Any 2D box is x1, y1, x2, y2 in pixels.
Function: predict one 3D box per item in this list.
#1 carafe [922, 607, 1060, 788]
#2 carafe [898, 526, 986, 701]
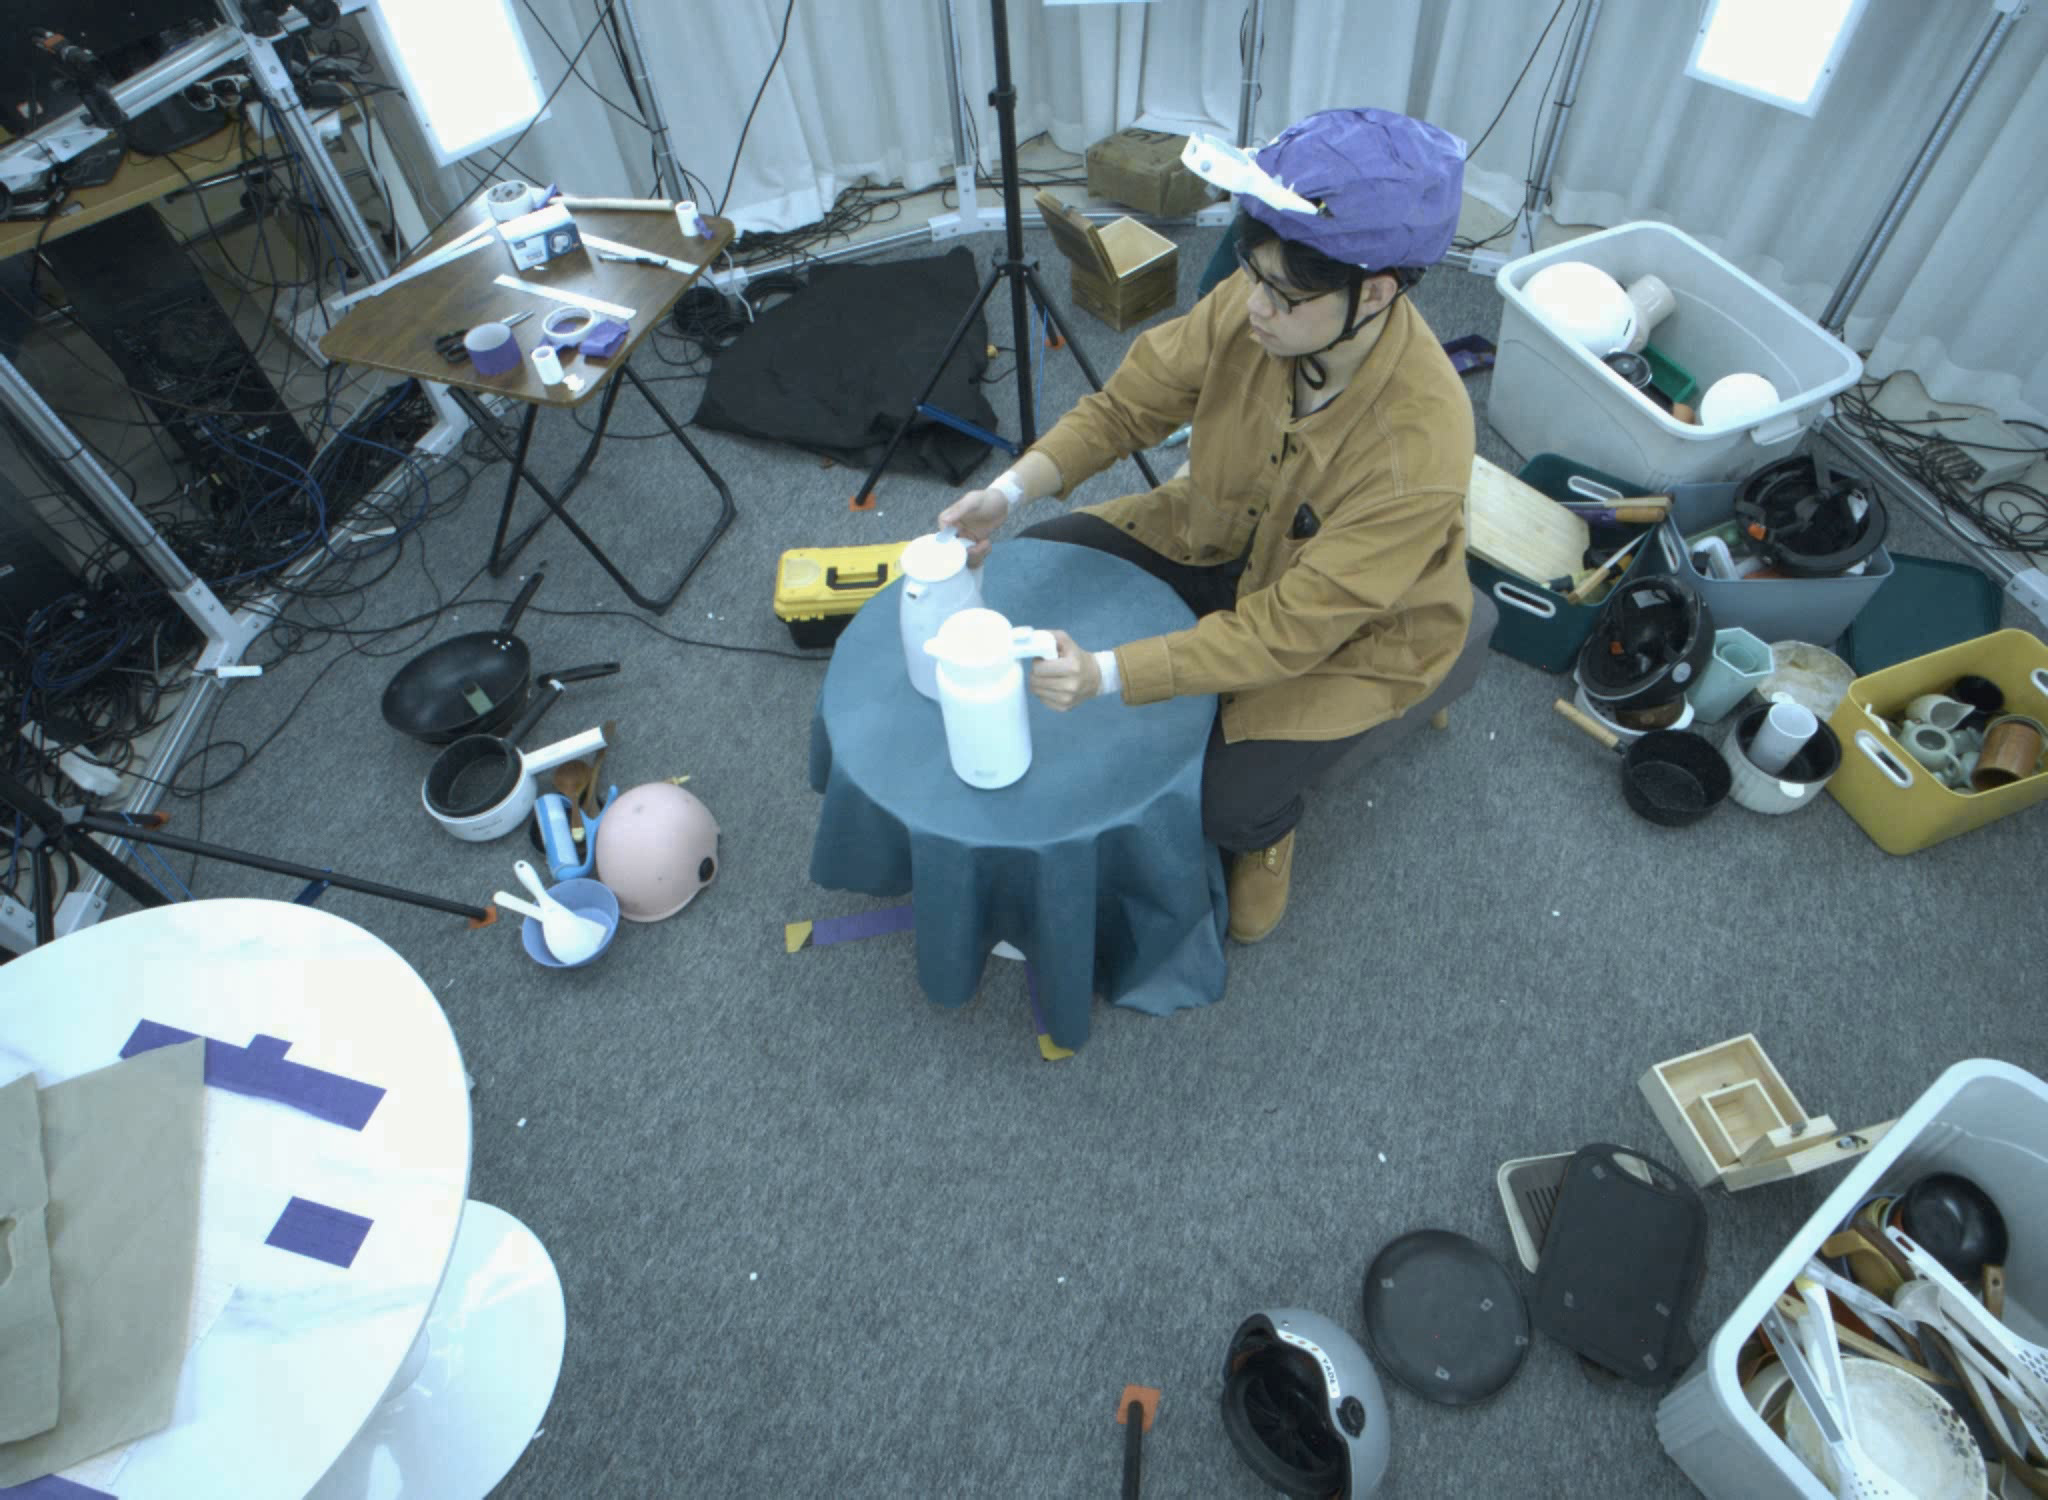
[{"bbox_3d":[-0.038,-0.070,1.669,0.173,0.272,0.122,-7,52,-2],"label":"carafe"},{"bbox_3d":[-0.111,-0.212,1.783,0.131,0.251,0.168,22,57,18],"label":"carafe"}]
